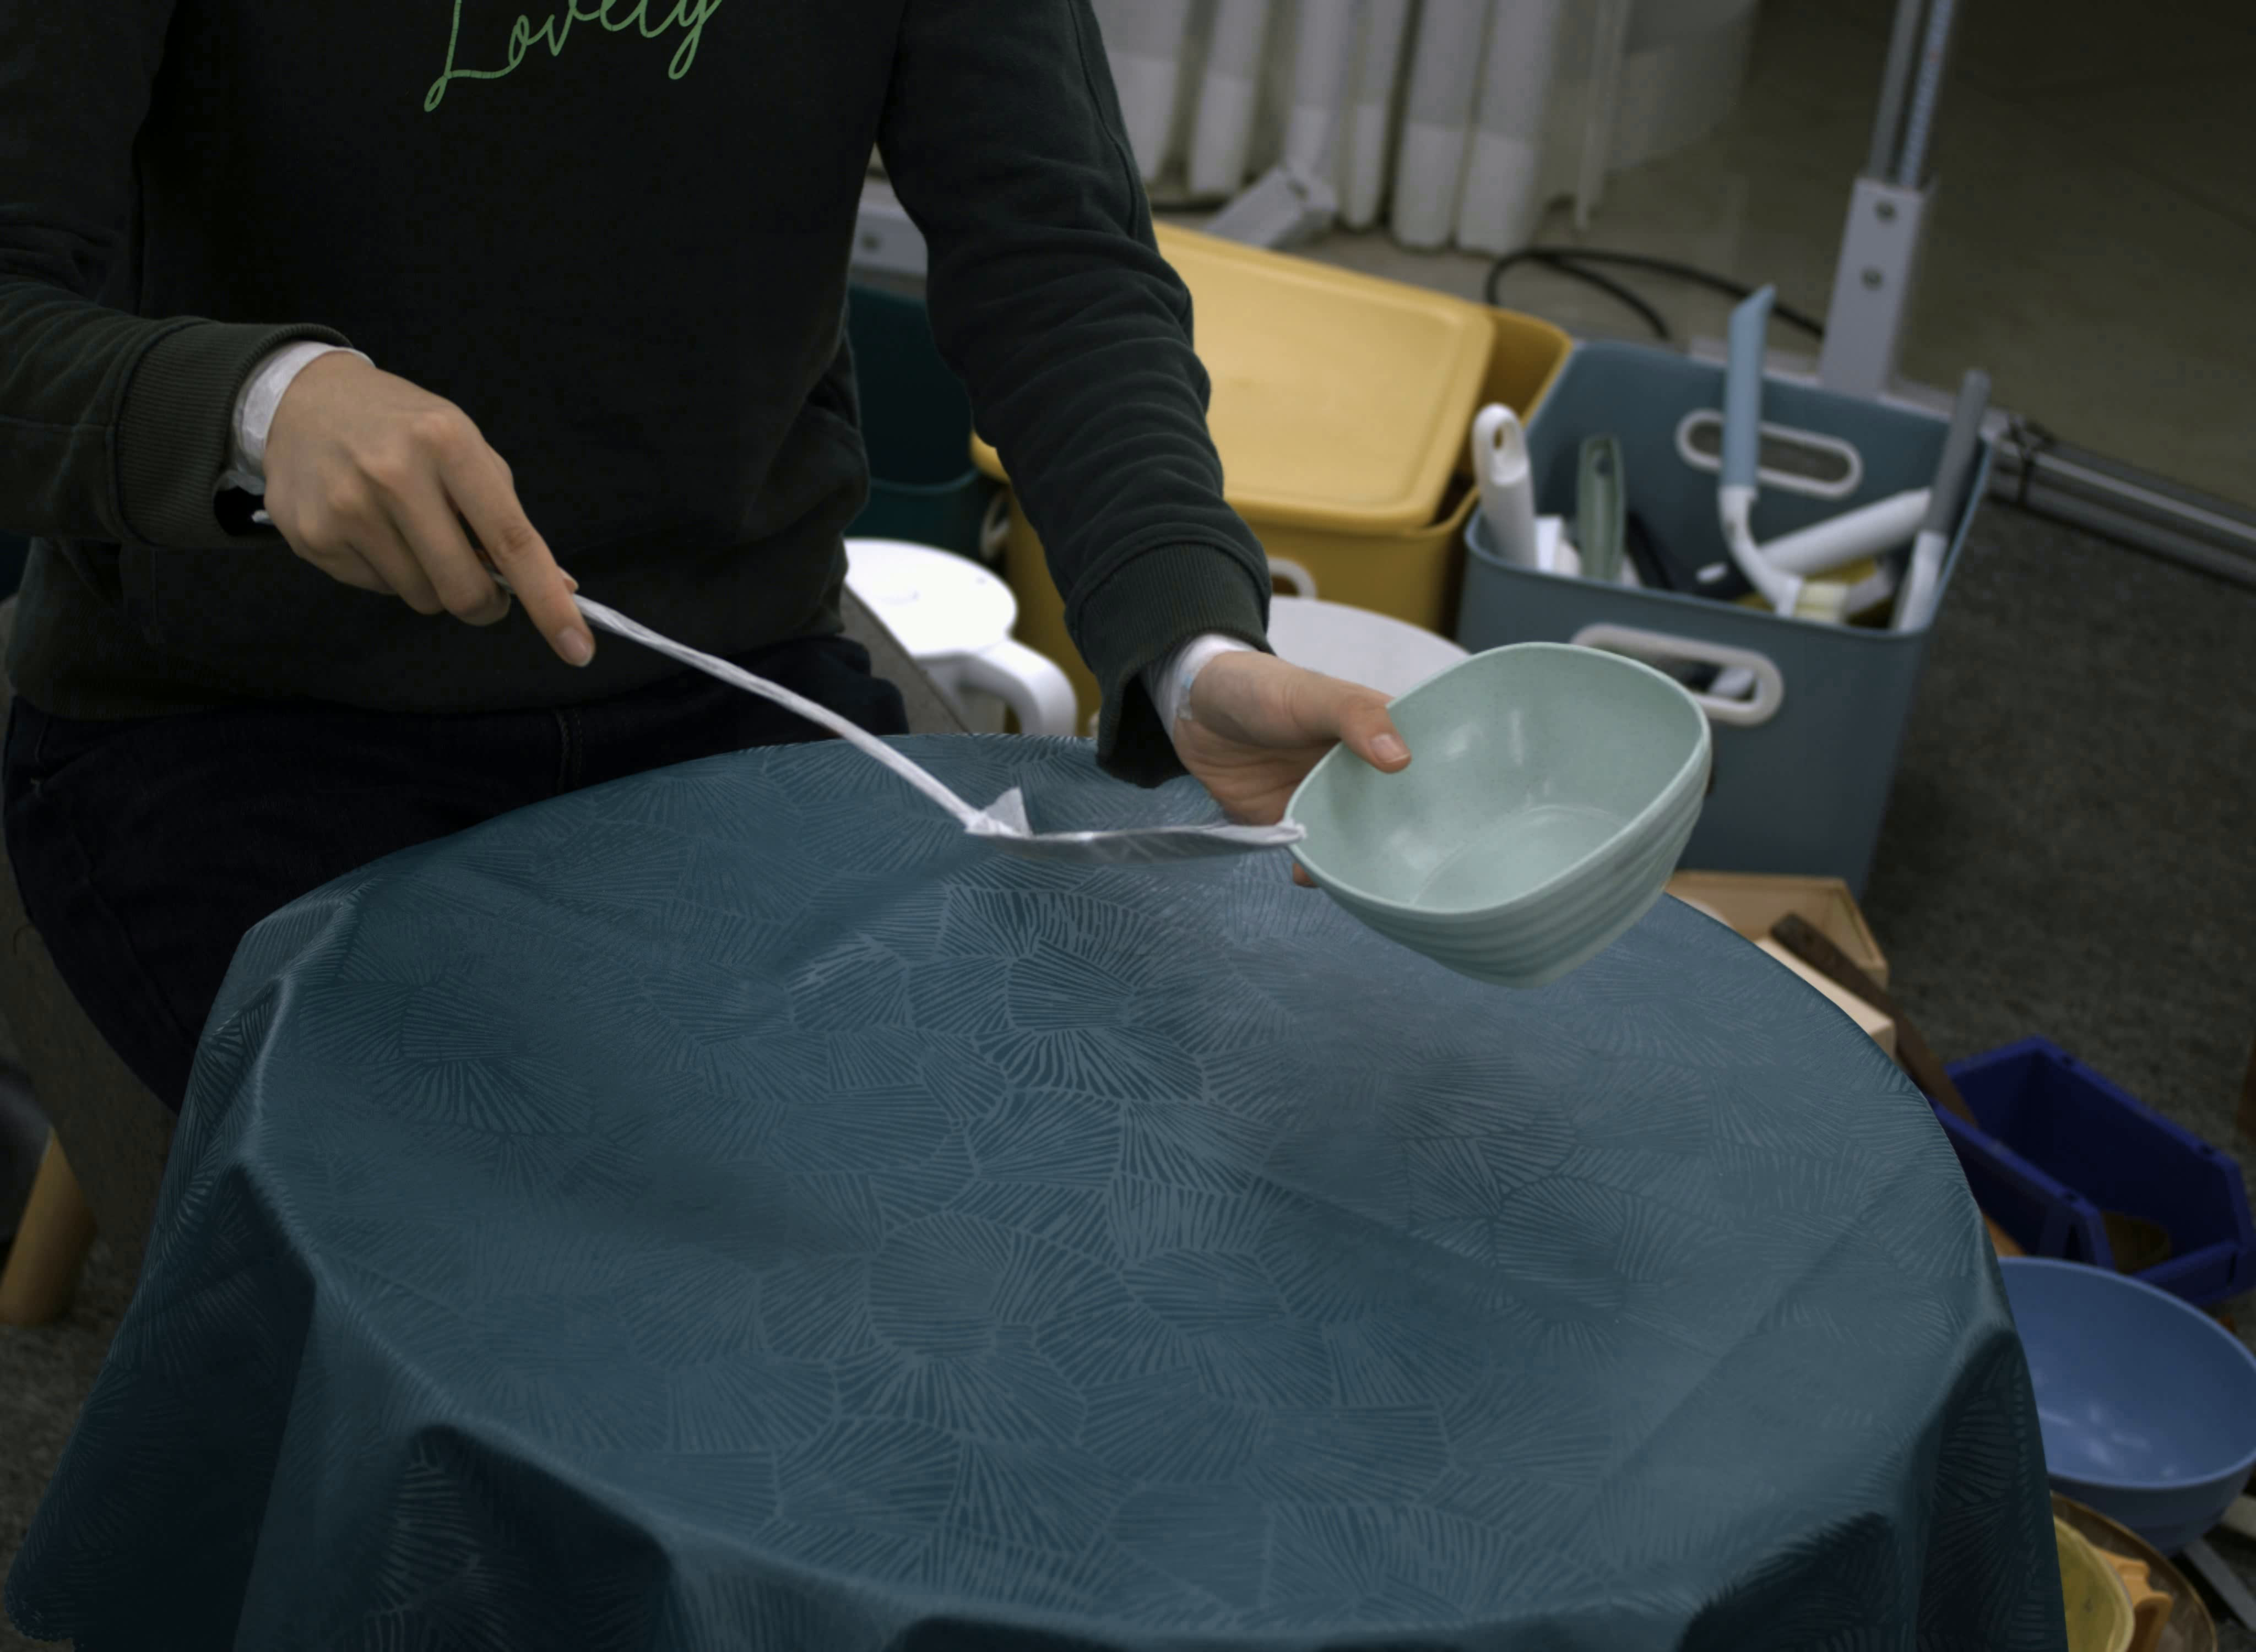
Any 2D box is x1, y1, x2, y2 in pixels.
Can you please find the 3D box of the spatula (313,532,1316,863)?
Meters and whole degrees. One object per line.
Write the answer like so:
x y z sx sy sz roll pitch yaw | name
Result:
-0.113 -0.047 1.708 0.366 0.045 0.098 23 10 20 | spatula

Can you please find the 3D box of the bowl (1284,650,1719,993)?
0.133 0.006 1.821 0.151 0.058 0.152 -14 33 9 | bowl
